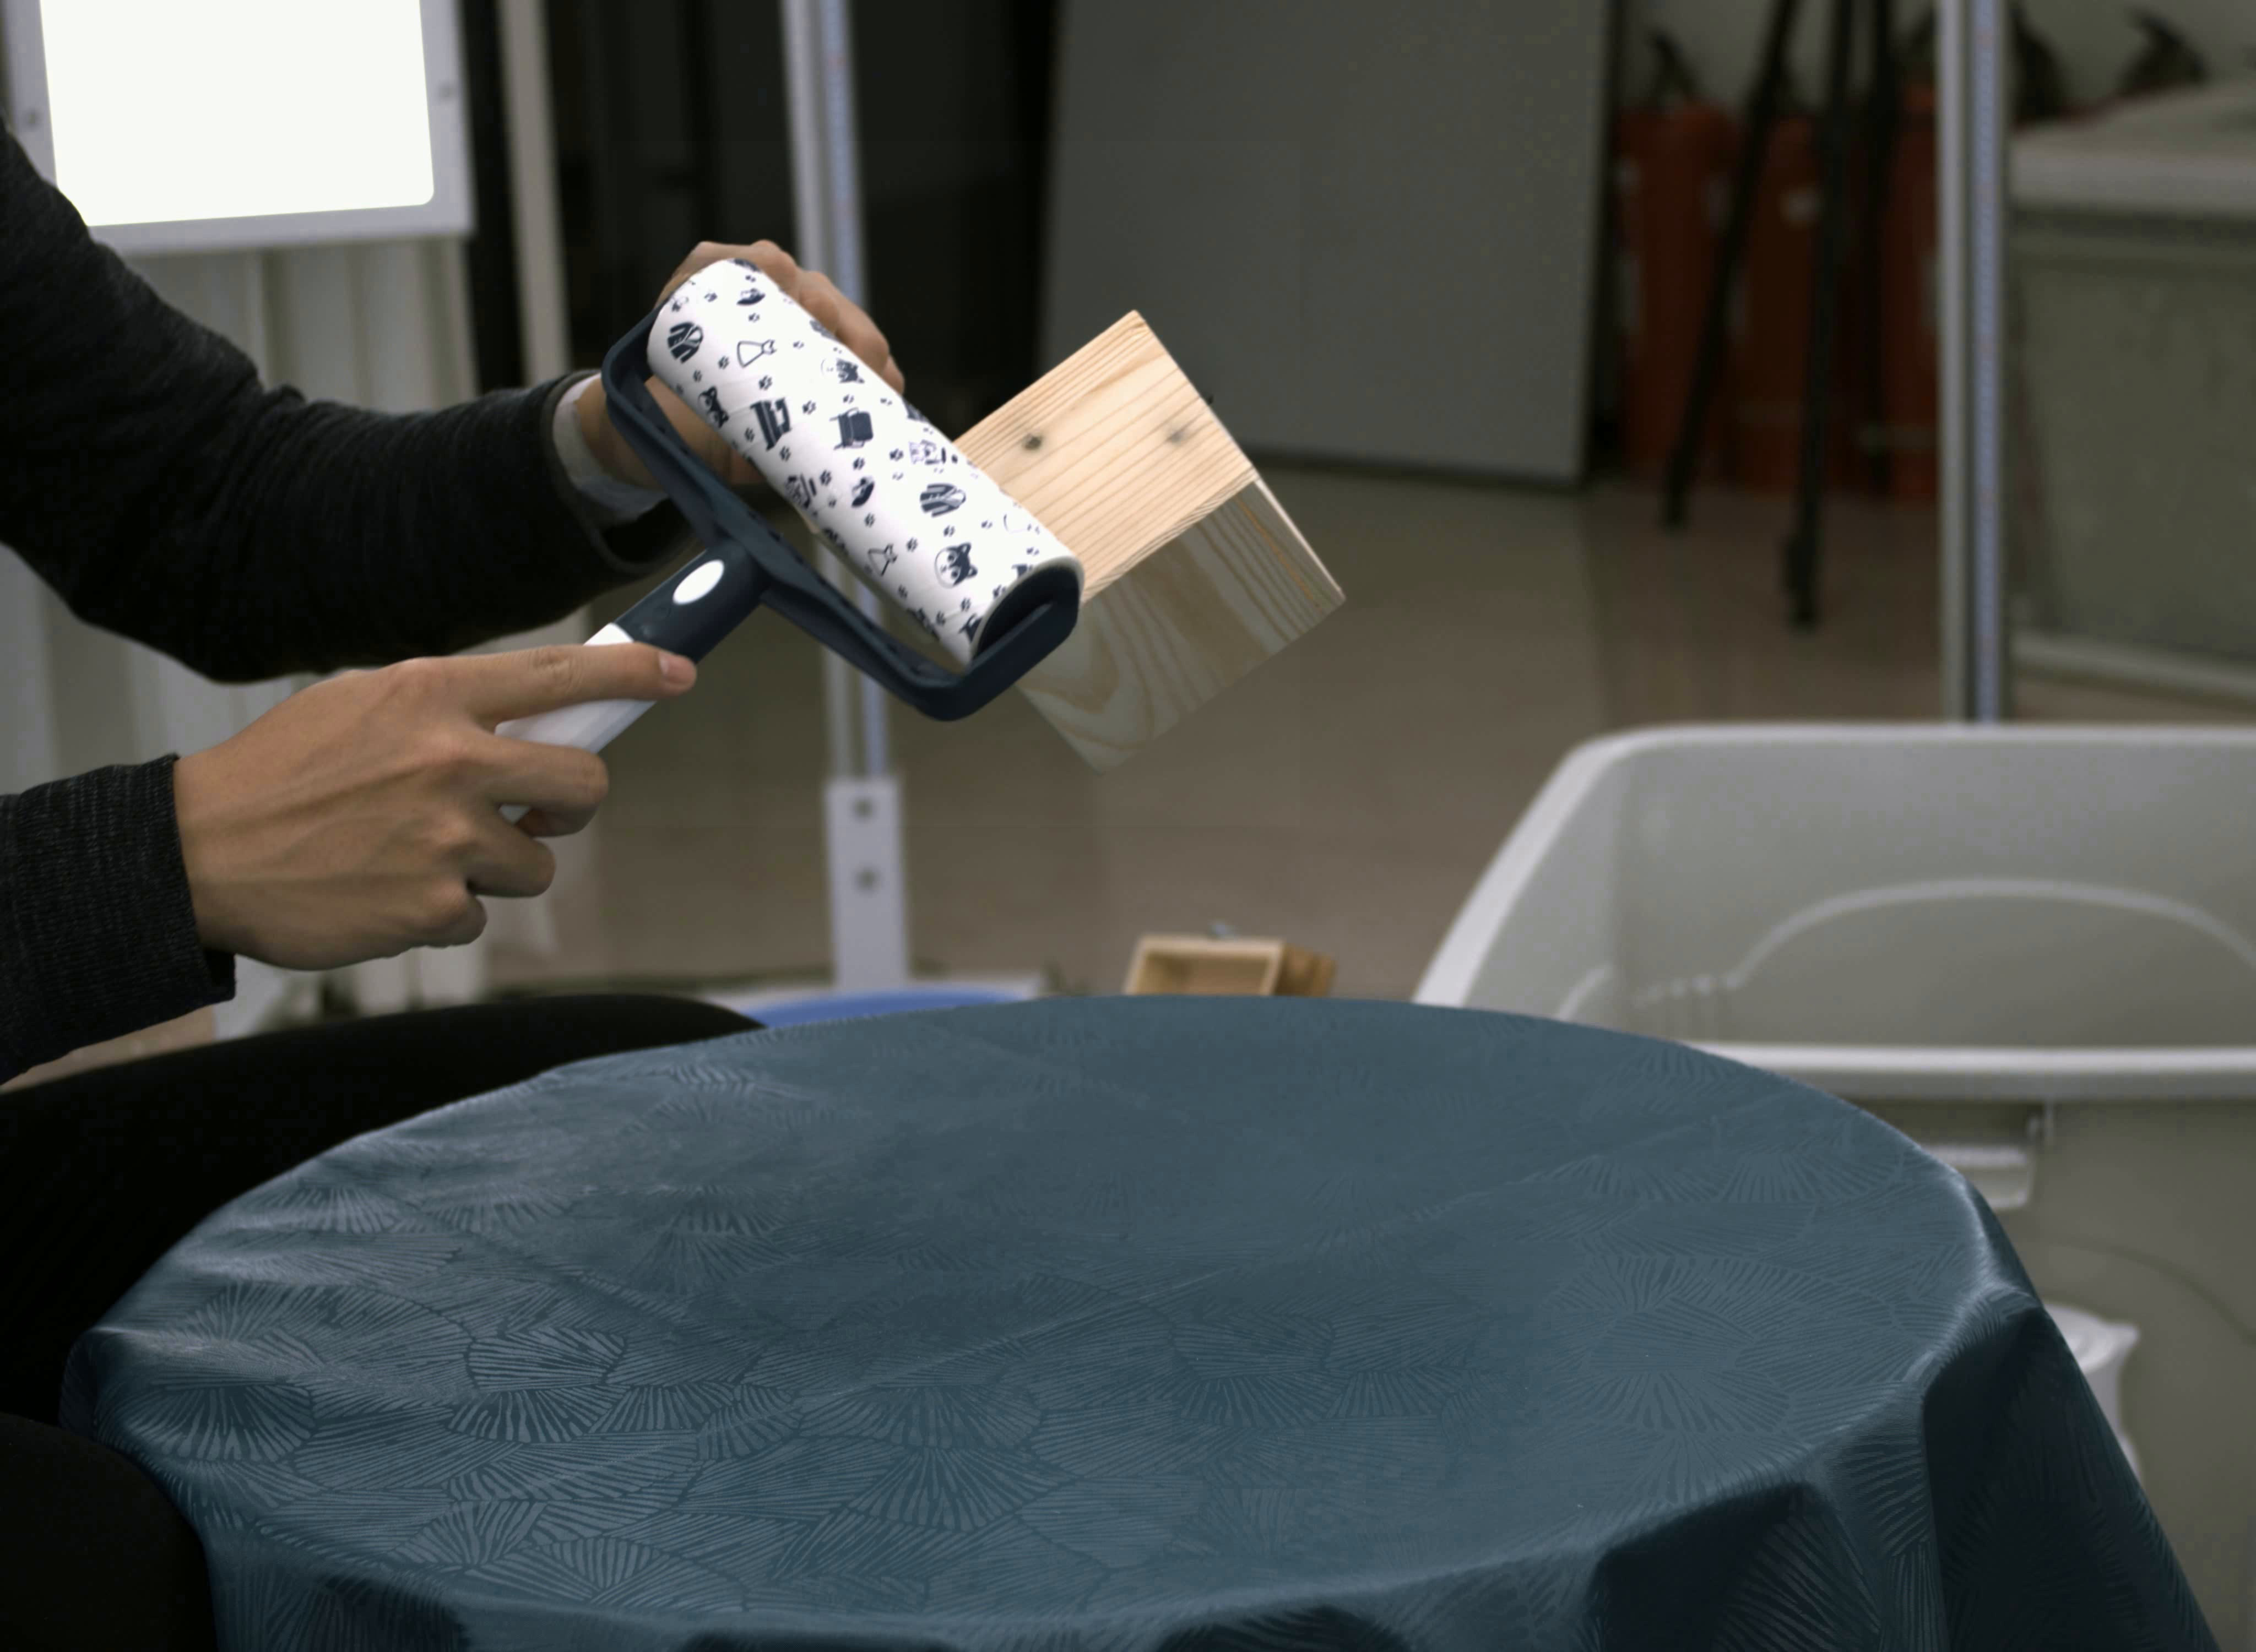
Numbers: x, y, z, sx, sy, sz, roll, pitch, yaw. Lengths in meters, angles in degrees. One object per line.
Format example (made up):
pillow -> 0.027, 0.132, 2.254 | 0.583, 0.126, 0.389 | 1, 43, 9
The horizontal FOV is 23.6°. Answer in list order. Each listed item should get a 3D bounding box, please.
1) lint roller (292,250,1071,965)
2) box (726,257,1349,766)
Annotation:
lint roller -> -0.157, -0.047, 1.645 | 0.245, 0.050, 0.178 | -41, 63, -12
box -> -0.035, -0.127, 1.758 | 0.133, 0.187, 0.101 | -37, -29, 5
